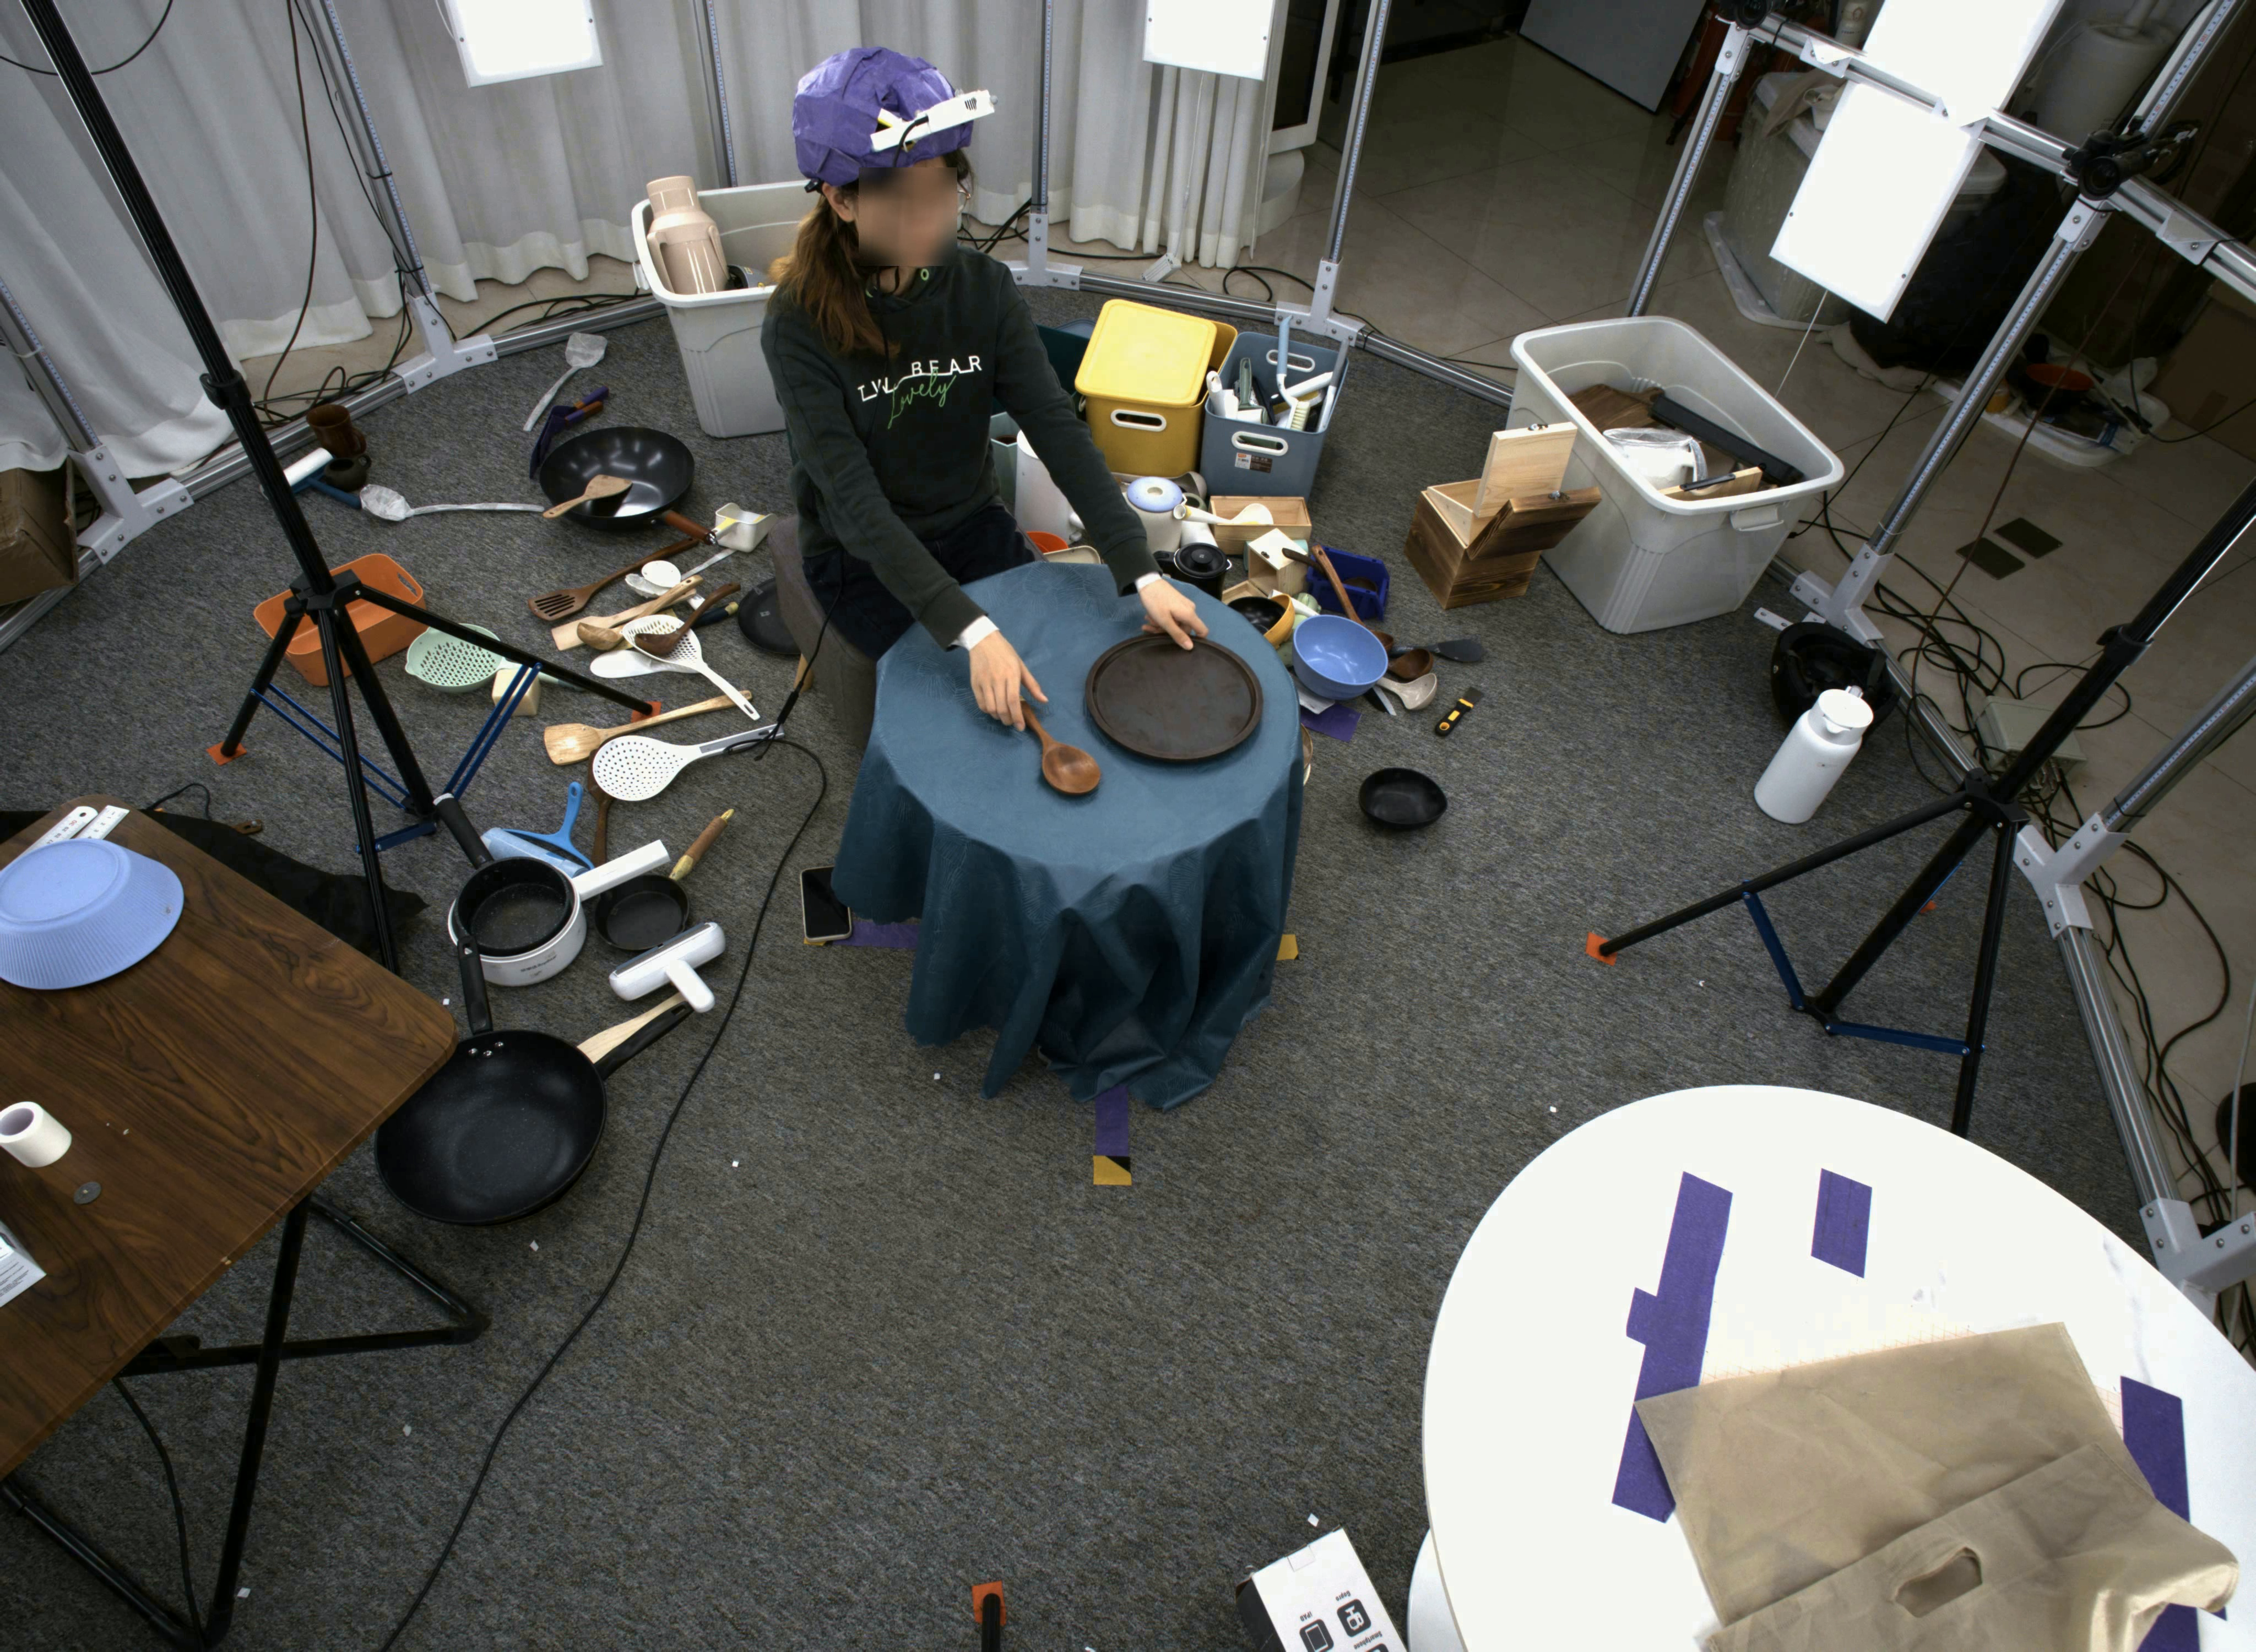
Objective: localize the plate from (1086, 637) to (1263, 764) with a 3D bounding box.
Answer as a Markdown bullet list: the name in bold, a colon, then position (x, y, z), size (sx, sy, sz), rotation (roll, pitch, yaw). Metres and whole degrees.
- **plate**: position (0.066, -0.181, 1.832), size (0.254, 0.028, 0.261), rotation (3, 49, -3)

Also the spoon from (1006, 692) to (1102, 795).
- **spoon**: position (-0.109, -0.115, 1.766), size (0.076, 0.017, 0.220), rotation (-23, 54, -22)
